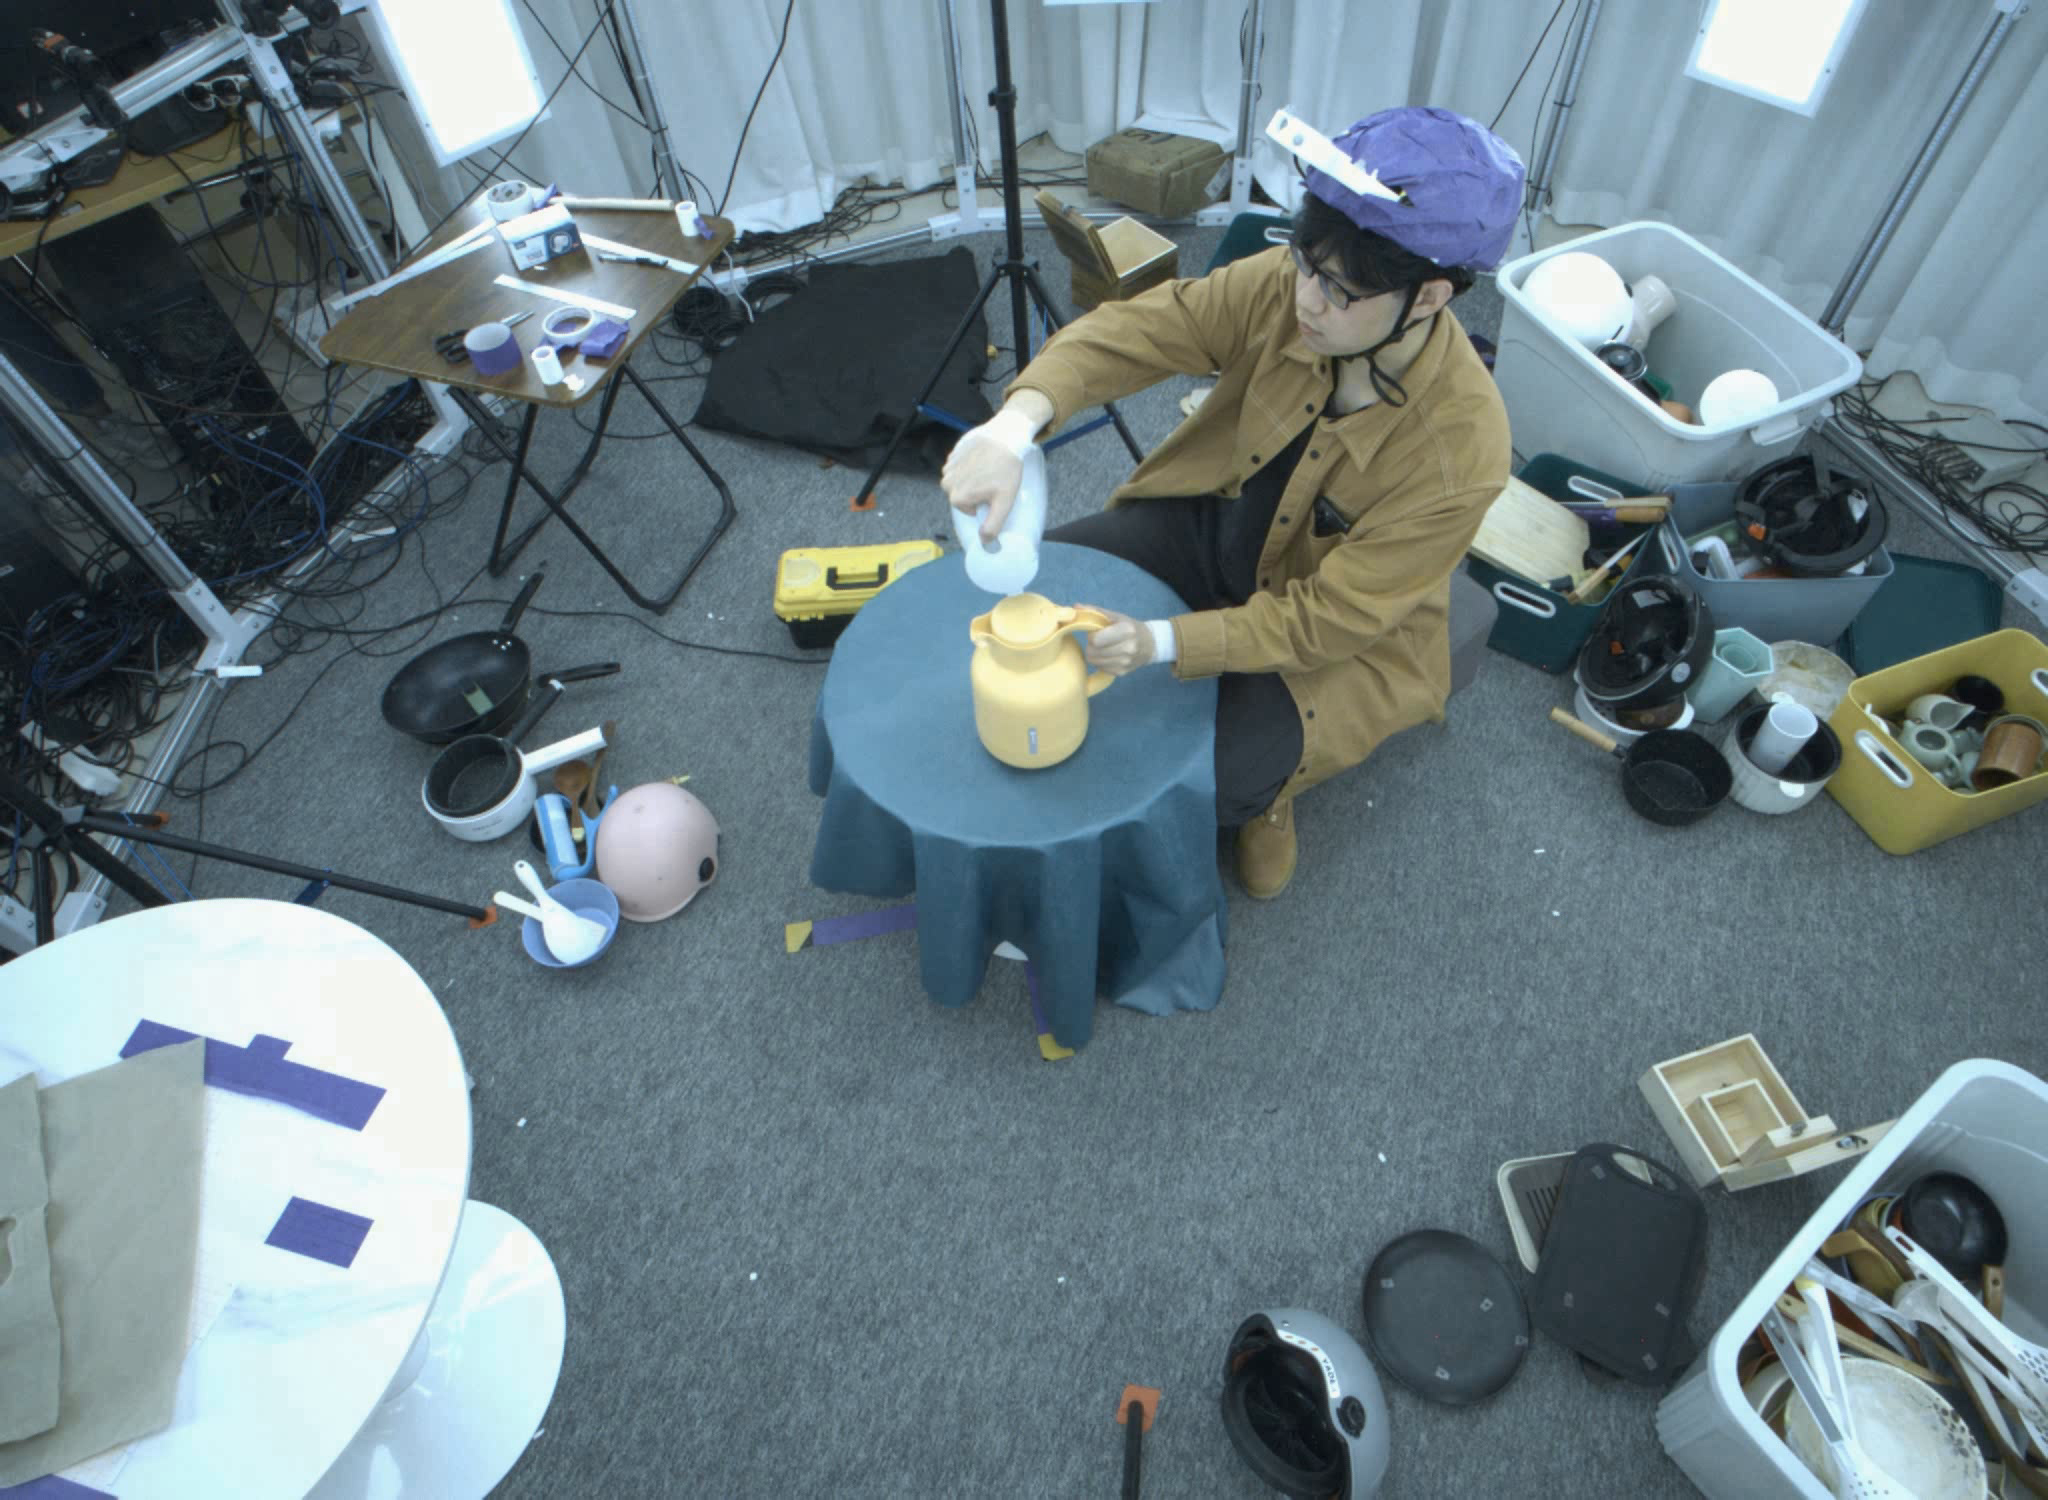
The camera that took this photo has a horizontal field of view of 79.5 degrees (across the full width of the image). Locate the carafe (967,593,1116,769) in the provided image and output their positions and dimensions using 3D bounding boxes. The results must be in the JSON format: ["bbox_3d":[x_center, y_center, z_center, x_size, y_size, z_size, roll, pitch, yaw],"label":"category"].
[{"bbox_3d":[0.026,-0.101,1.695,0.202,0.263,0.161,-4,56,2],"label":"carafe"}]

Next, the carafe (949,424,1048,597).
[{"bbox_3d":[-0.041,-0.323,1.585,0.132,0.171,0.245,-14,44,11],"label":"carafe"}]
